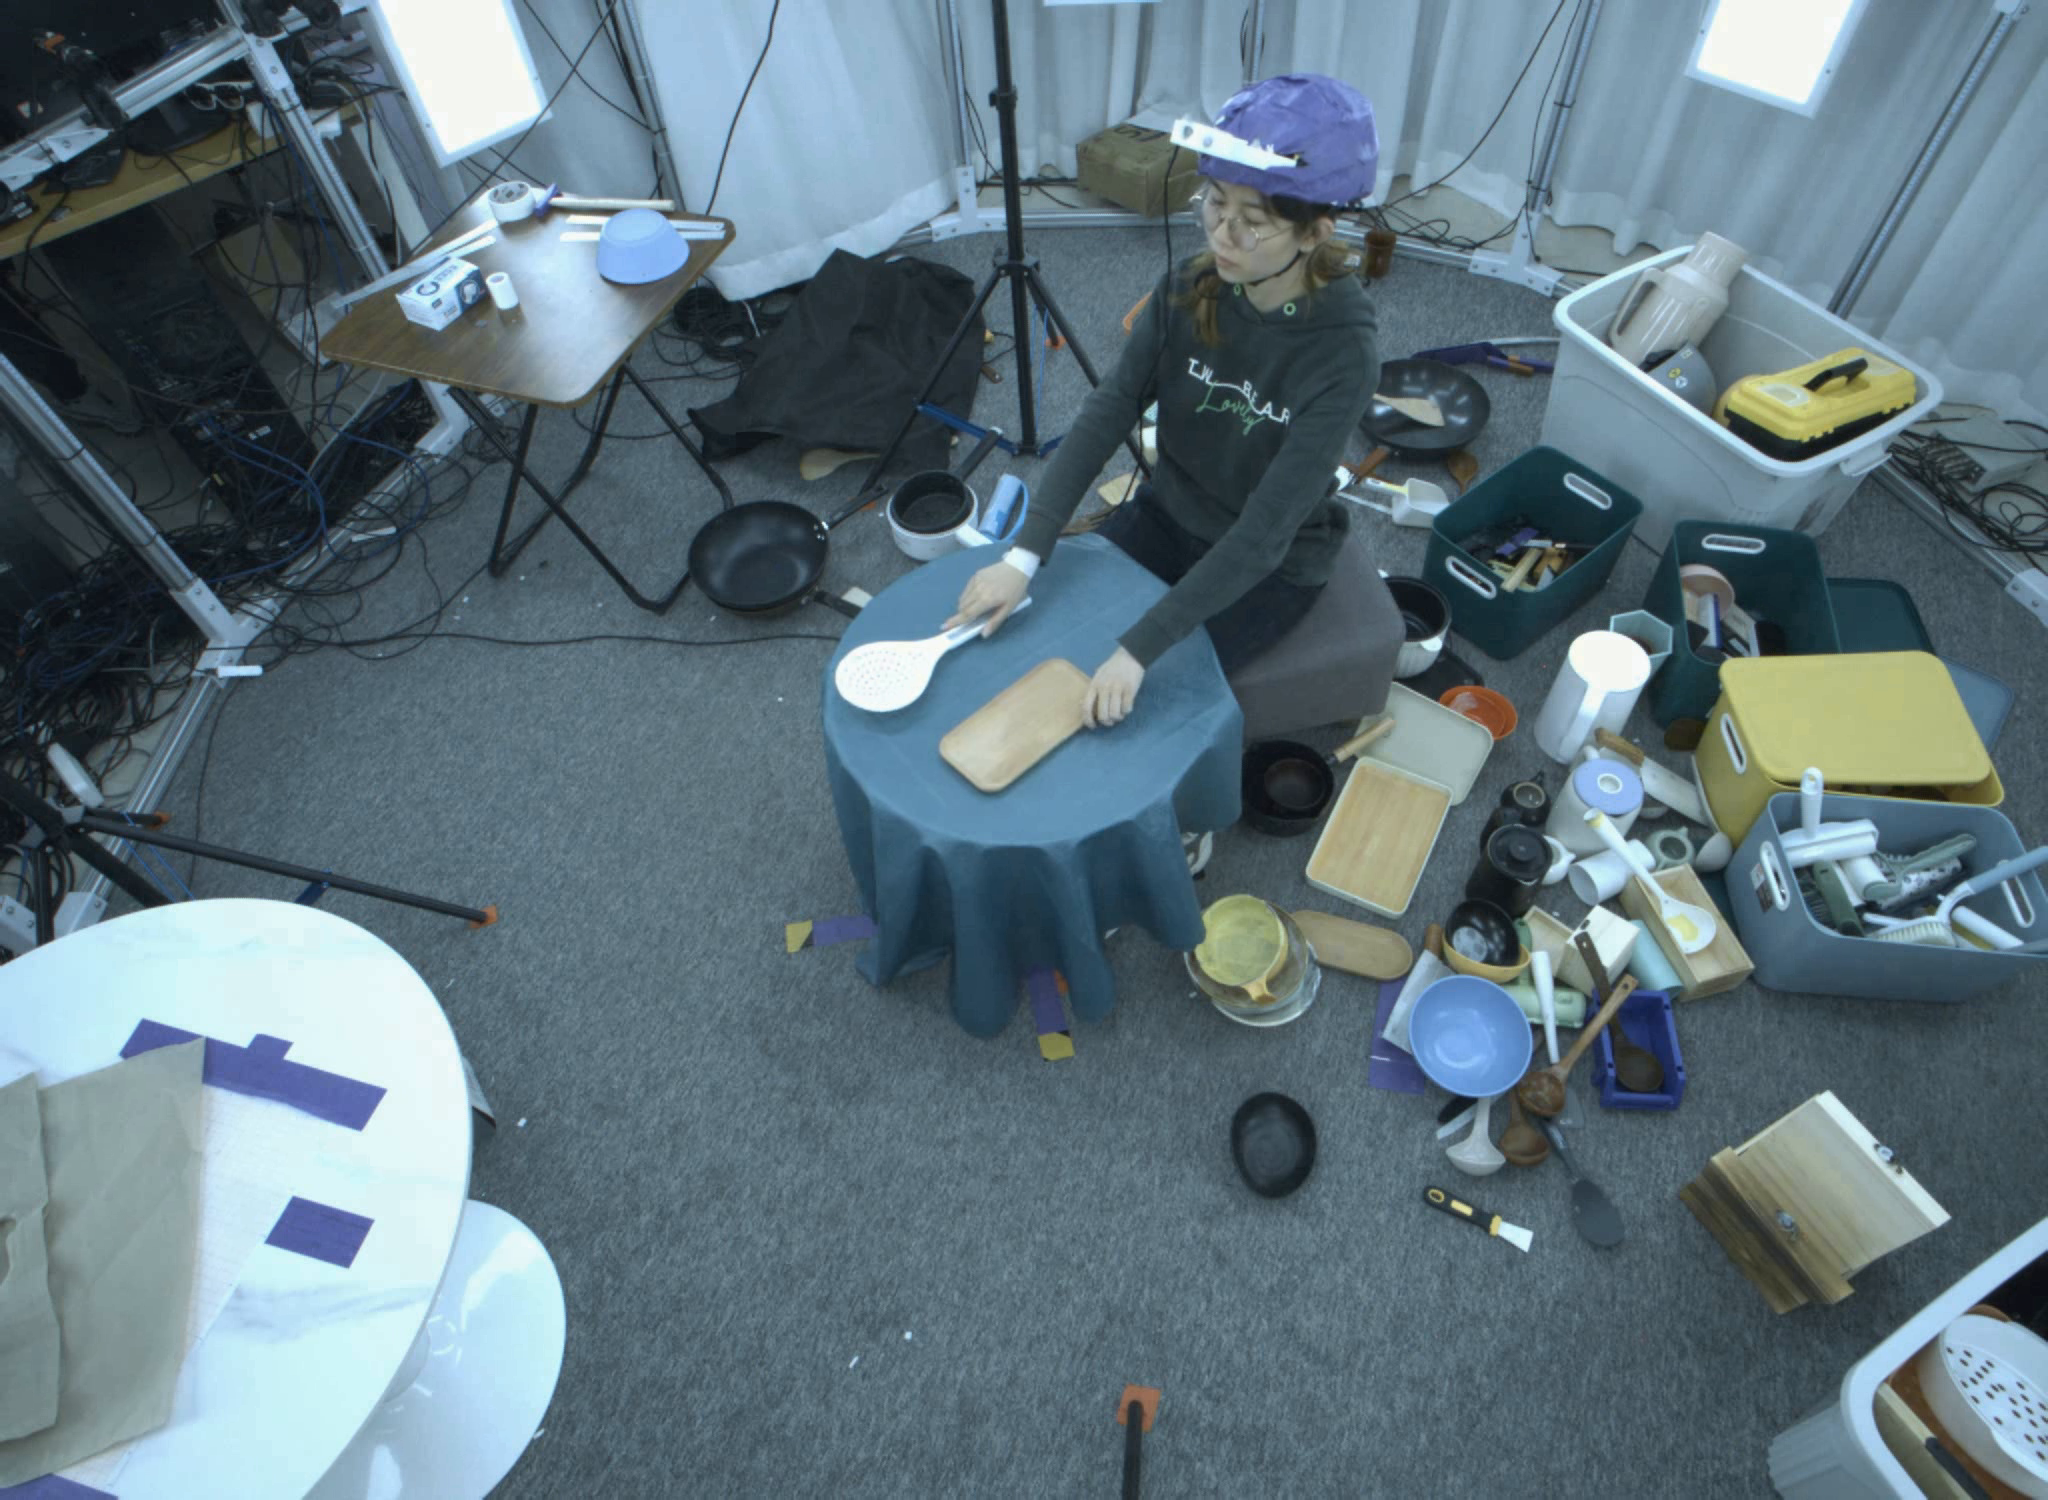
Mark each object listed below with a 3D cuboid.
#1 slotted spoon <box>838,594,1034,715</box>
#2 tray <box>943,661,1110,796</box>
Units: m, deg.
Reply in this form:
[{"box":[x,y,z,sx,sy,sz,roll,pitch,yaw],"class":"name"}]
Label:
[{"box":[-0.127,-0.155,1.882,0.352,0.046,0.134,-35,64,-21],"class":"slotted spoon"},{"box":[0.005,-0.034,1.811,0.252,0.023,0.128,-38,64,-23],"class":"tray"}]
